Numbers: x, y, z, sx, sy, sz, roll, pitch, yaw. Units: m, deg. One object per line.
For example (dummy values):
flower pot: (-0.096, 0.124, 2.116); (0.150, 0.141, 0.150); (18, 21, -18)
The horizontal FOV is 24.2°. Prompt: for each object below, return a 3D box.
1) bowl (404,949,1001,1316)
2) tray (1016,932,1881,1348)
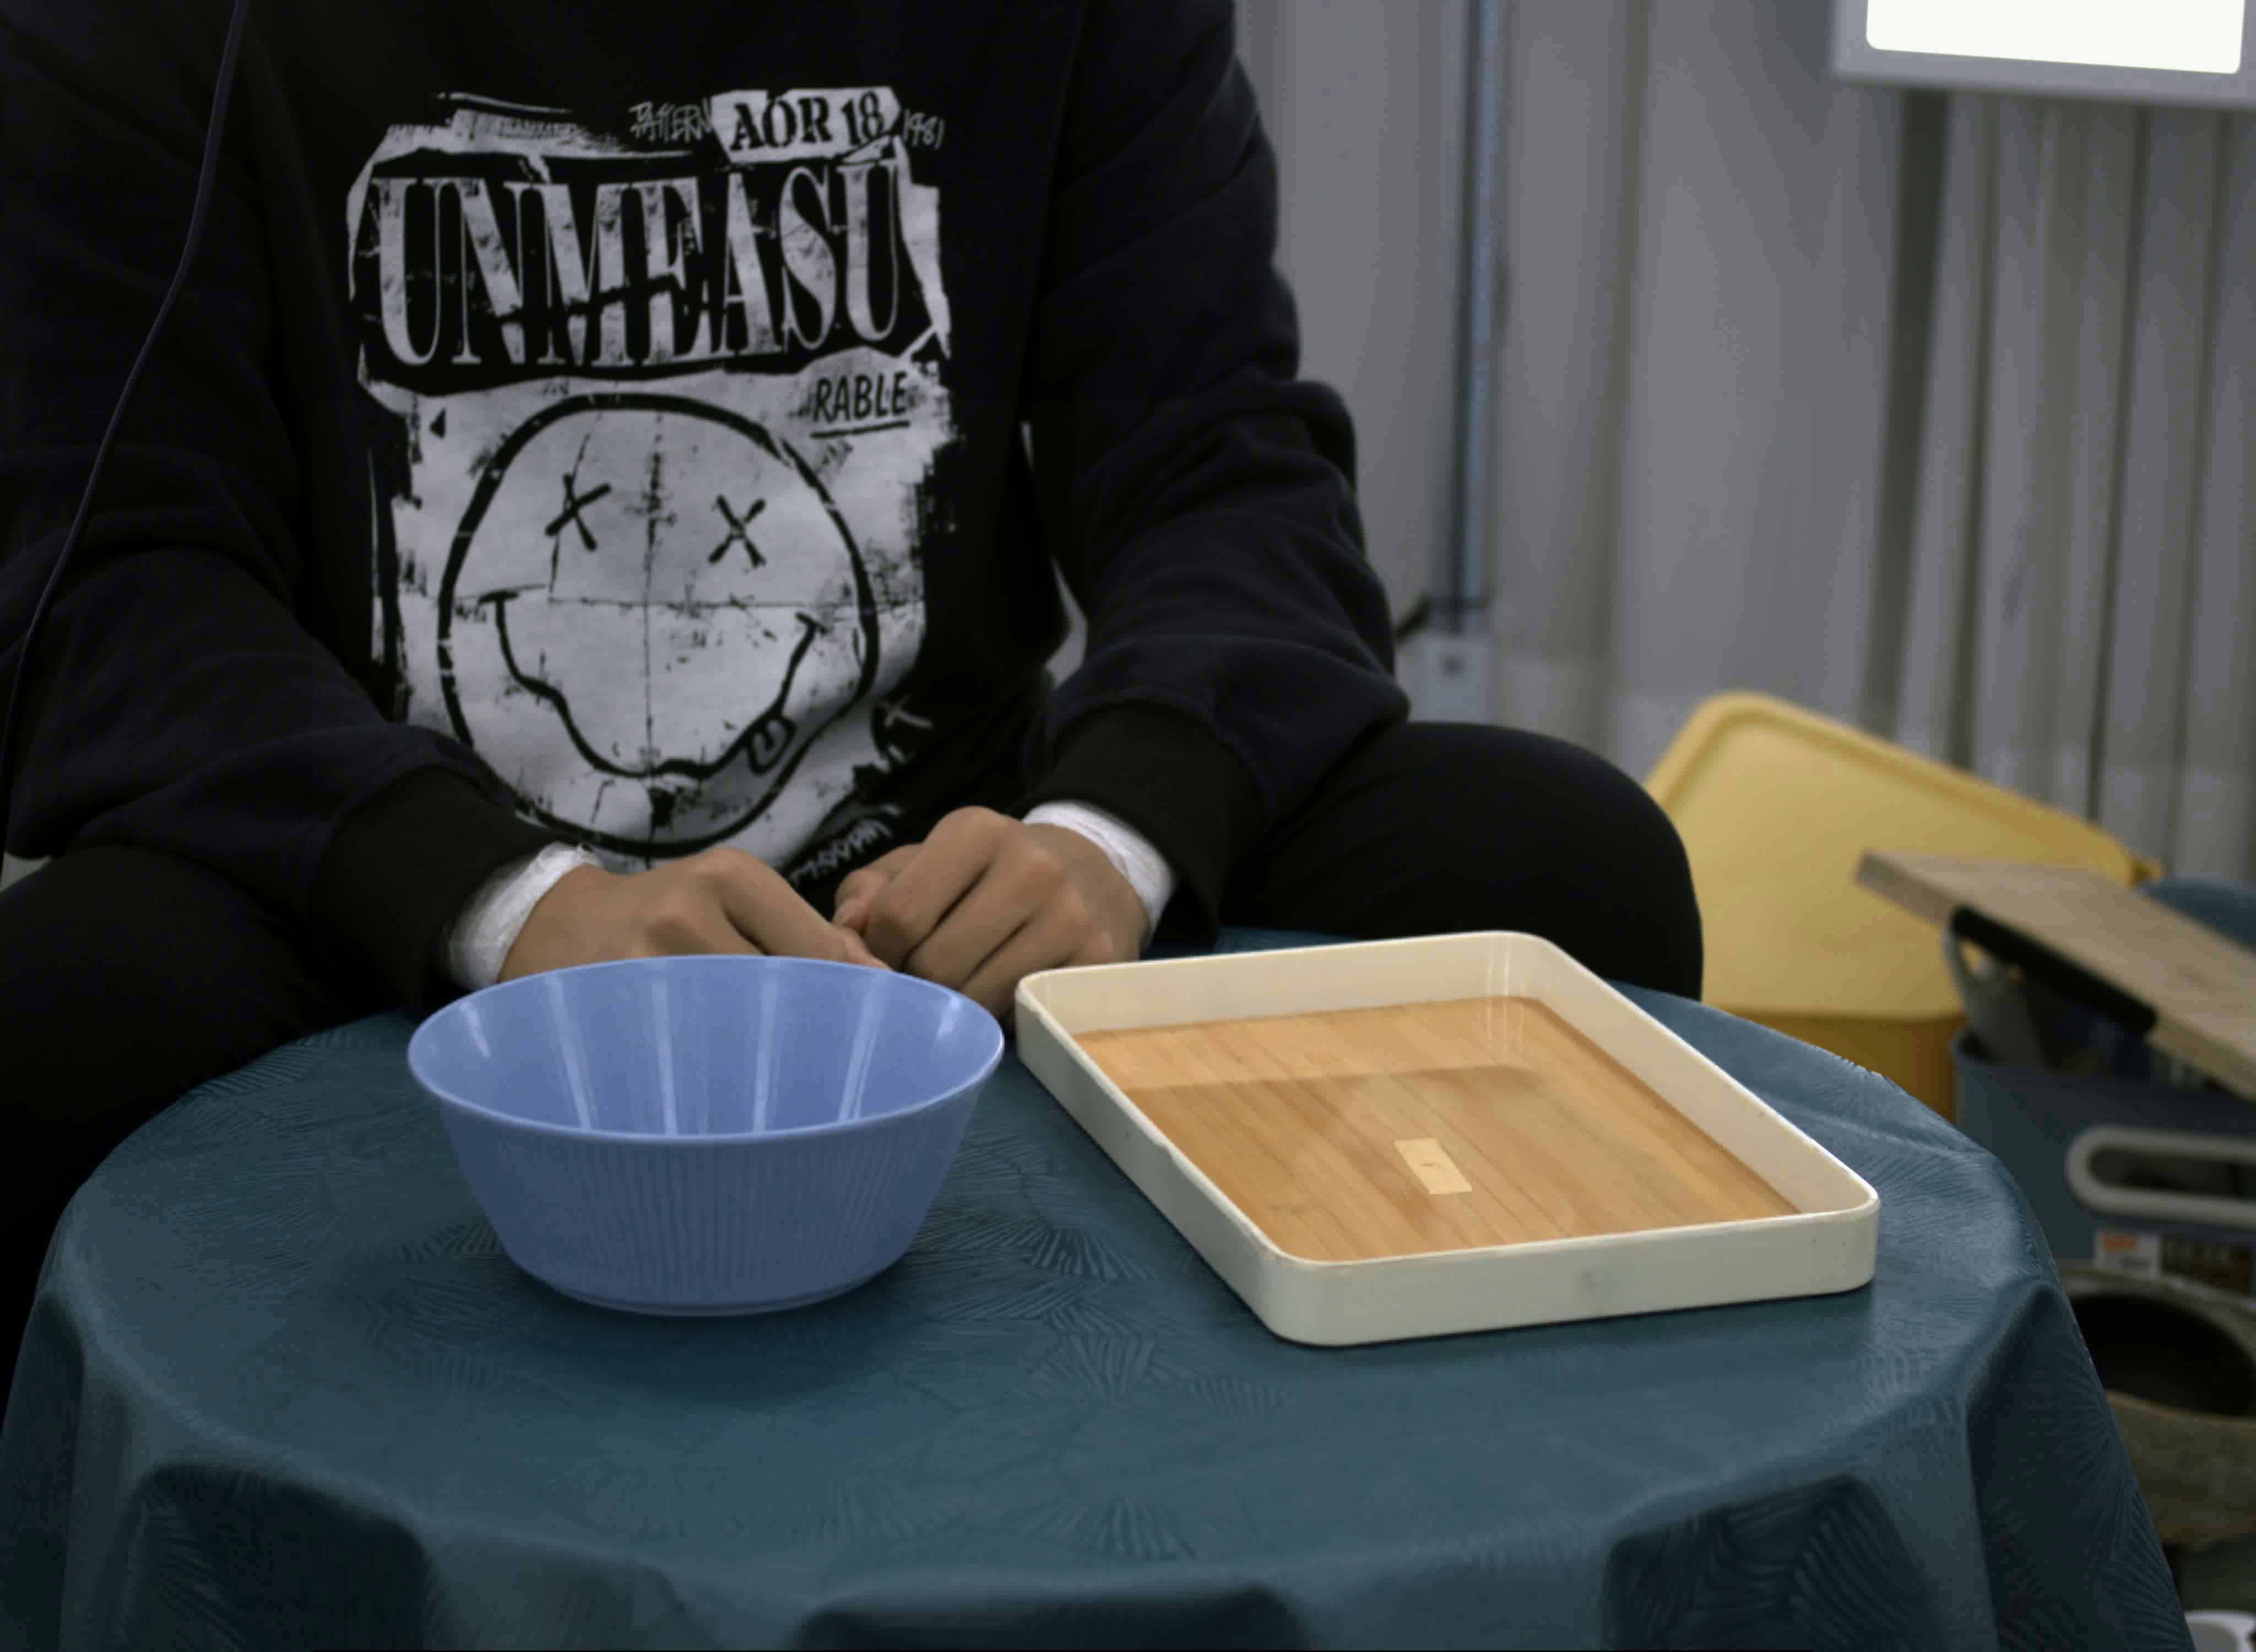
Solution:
bowl: (-0.125, 0.093, 1.558); (0.175, 0.071, 0.175); (1, 17, 0)
tray: (0.092, 0.093, 1.651); (0.192, 0.027, 0.297); (-4, 17, -17)
